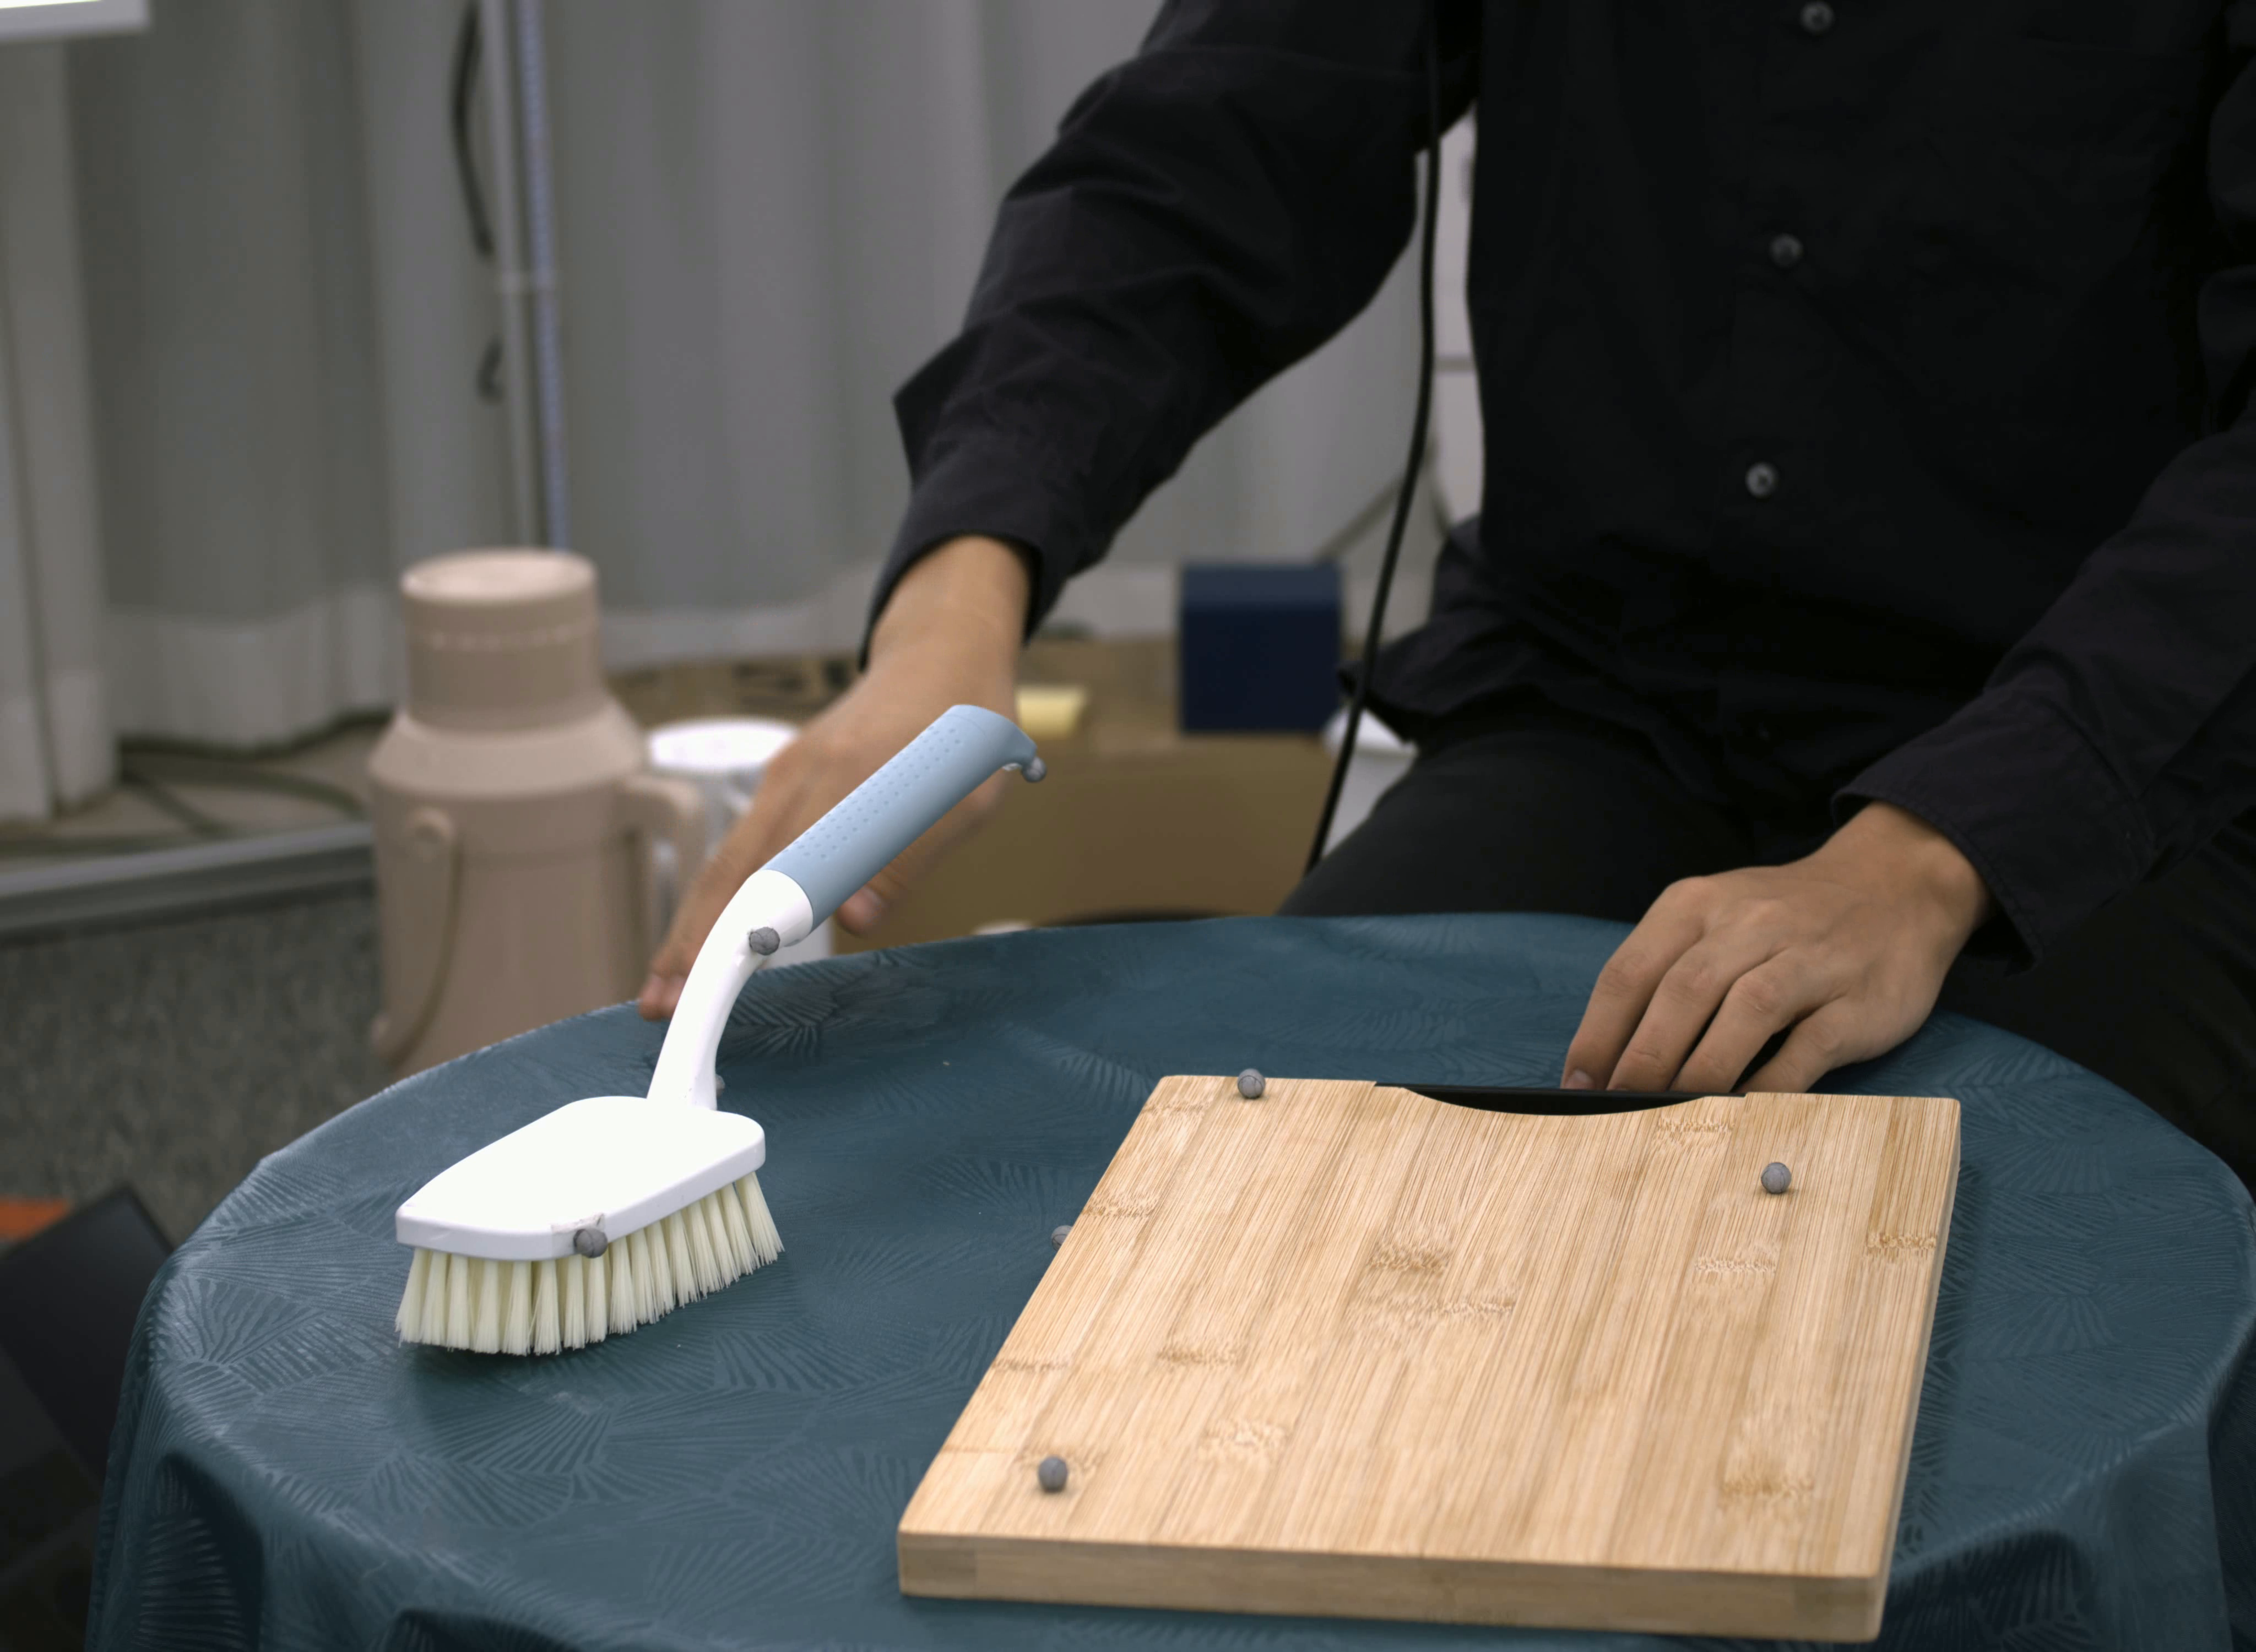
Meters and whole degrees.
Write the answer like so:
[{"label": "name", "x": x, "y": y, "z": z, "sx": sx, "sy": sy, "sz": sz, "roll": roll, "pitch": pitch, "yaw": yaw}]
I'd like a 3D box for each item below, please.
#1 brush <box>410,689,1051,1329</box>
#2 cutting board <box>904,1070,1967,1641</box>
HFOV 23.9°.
[{"label": "brush", "x": -0.102, "y": 0.067, "z": 1.574, "sx": 0.083, "sy": 0.085, "sz": 0.321, "roll": 39, "pitch": 41, "yaw": 8}, {"label": "cutting board", "x": 0.096, "y": 0.134, "z": 1.425, "sx": 0.252, "sy": 0.023, "sz": 0.347, "roll": 1, "pitch": 17, "yaw": 11}]
